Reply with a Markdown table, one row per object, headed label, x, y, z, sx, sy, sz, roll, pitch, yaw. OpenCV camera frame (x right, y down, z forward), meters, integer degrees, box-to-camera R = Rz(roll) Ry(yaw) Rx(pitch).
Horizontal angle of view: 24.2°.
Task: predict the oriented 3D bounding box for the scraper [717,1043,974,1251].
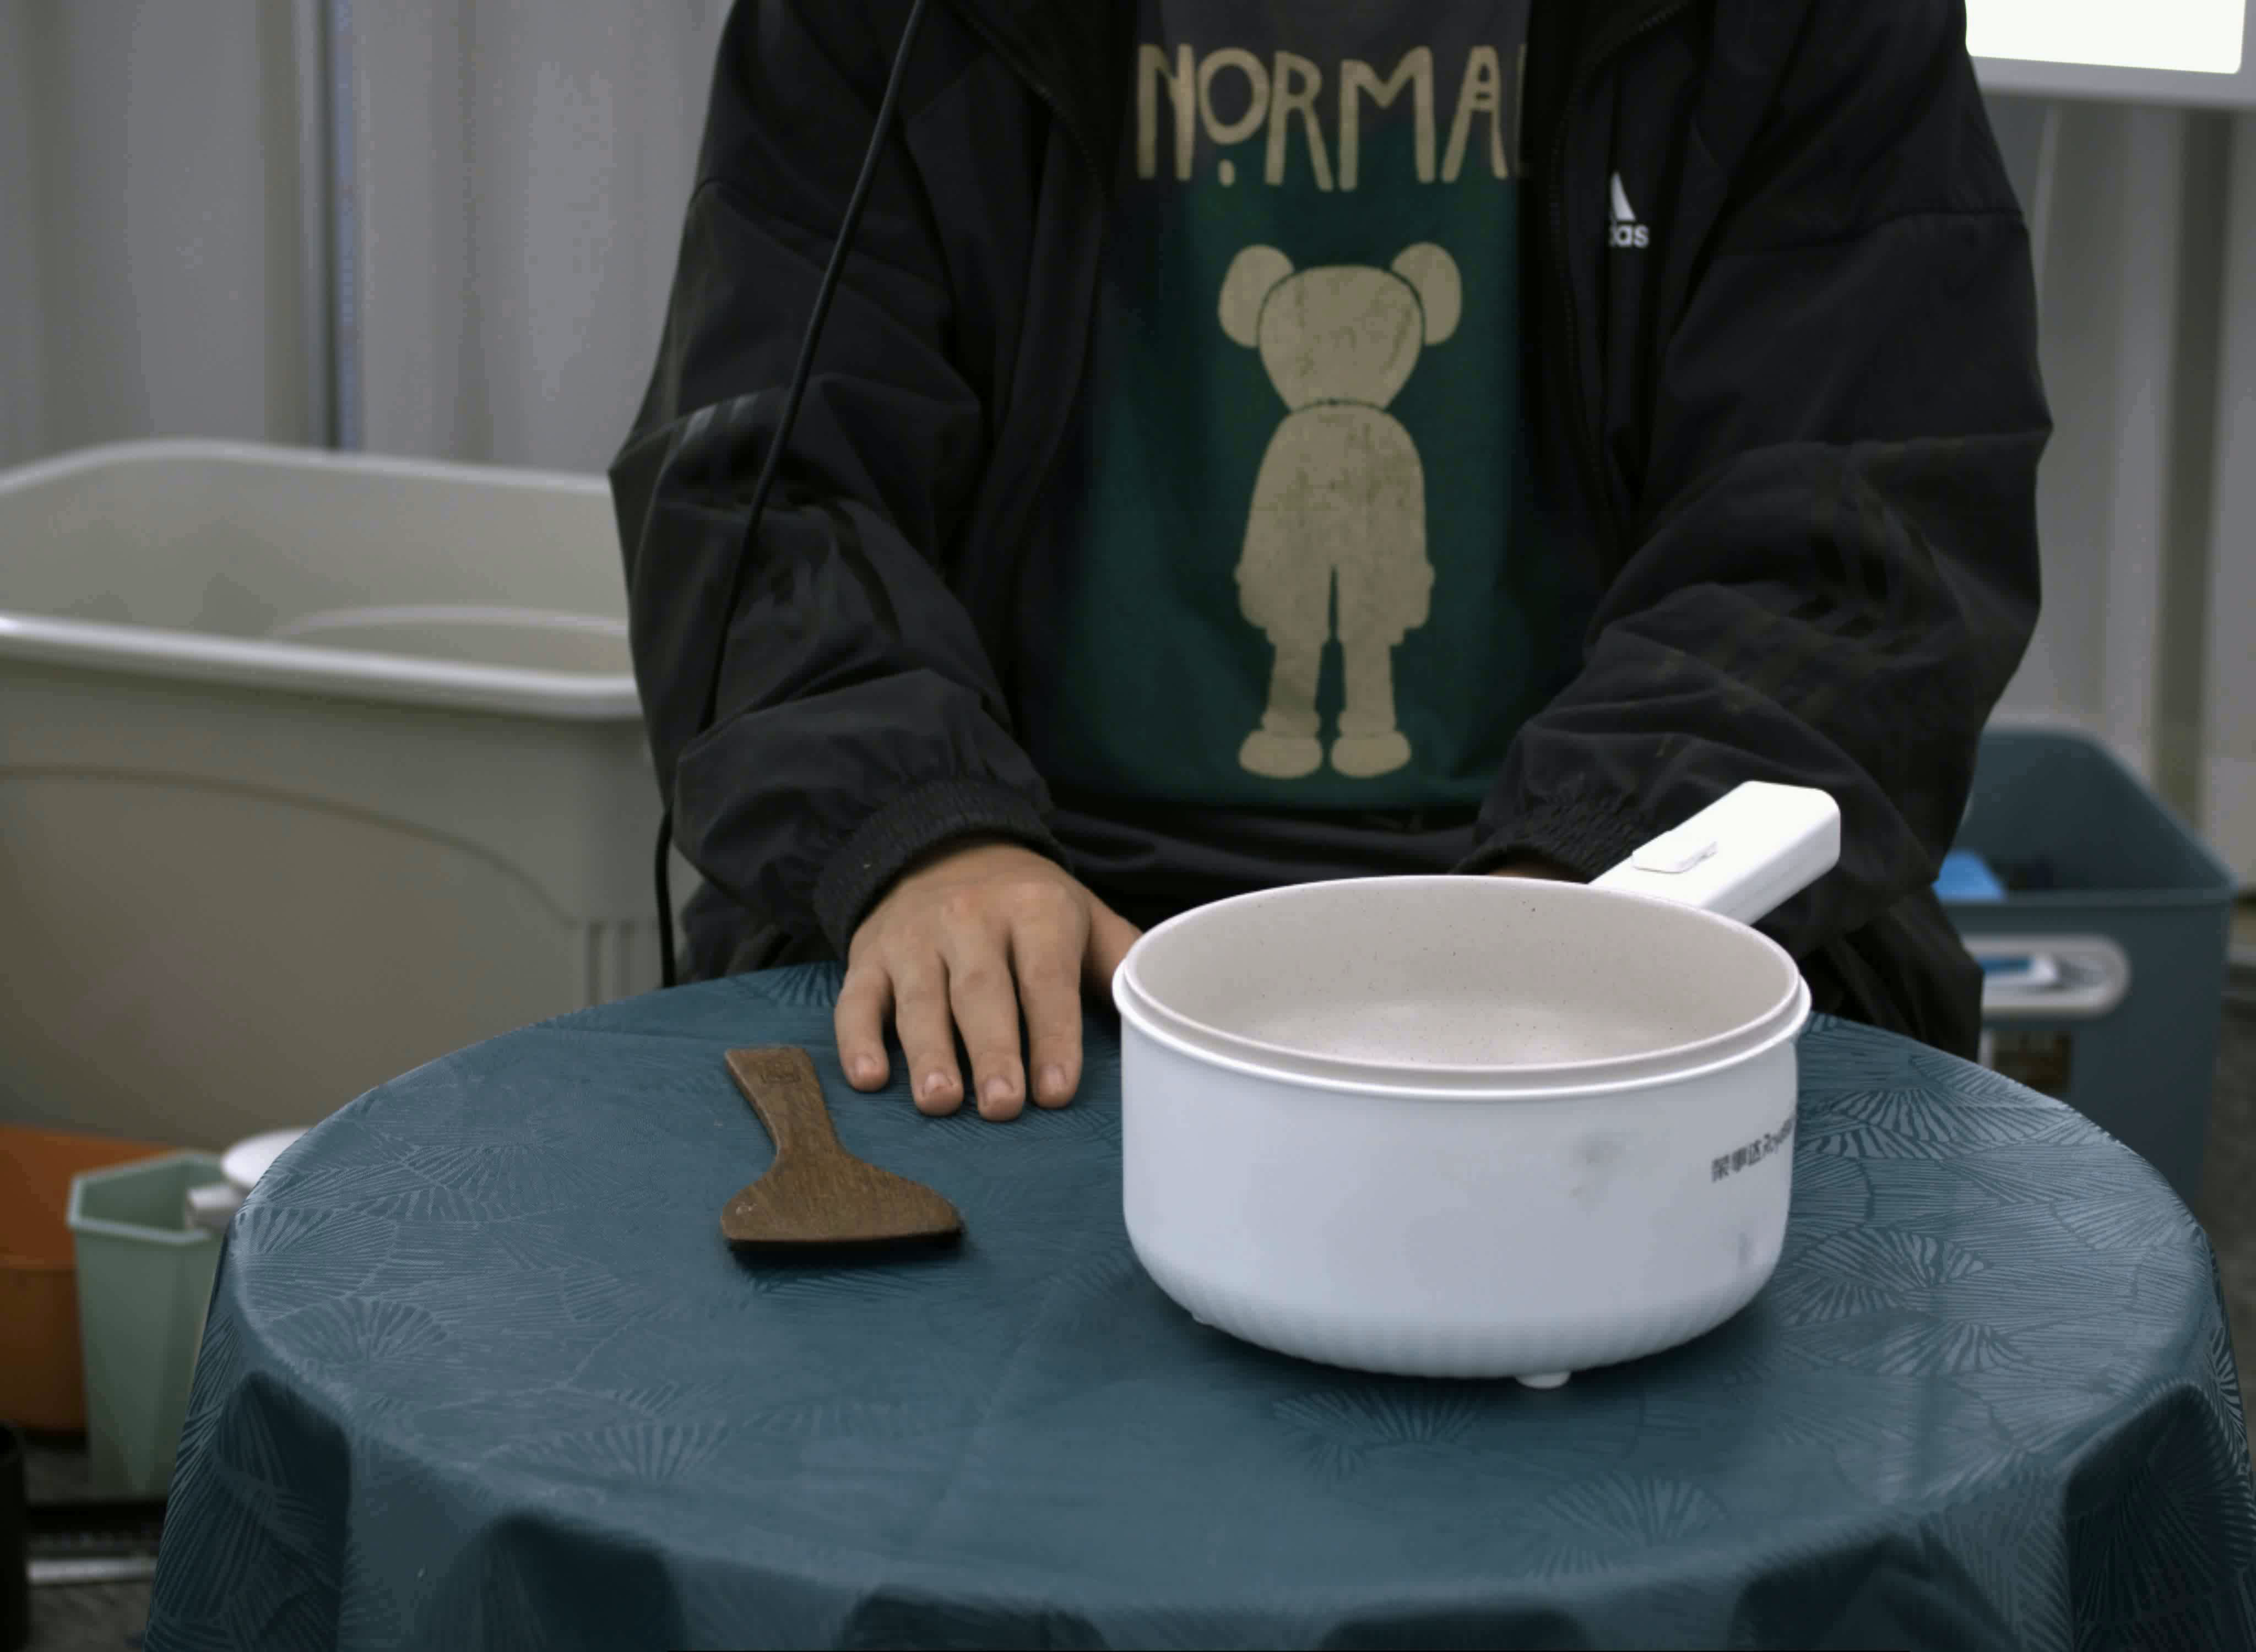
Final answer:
| label | x | y | z | sx | sy | sz | roll | pitch | yaw |
| --- | --- | --- | --- | --- | --- | --- | --- | --- | --- |
| scraper | -0.100 | 0.100 | 1.651 | 0.076 | 0.011 | 0.209 | -1 | 15 | -11 |

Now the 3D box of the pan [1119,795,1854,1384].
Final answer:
| label | x | y | z | sx | sy | sz | roll | pitch | yaw |
| --- | --- | --- | --- | --- | --- | --- | --- | --- | --- |
| pan | 0.133 | 0.072 | 1.591 | 0.199 | 0.103 | 0.356 | 8 | 16 | 27 |
